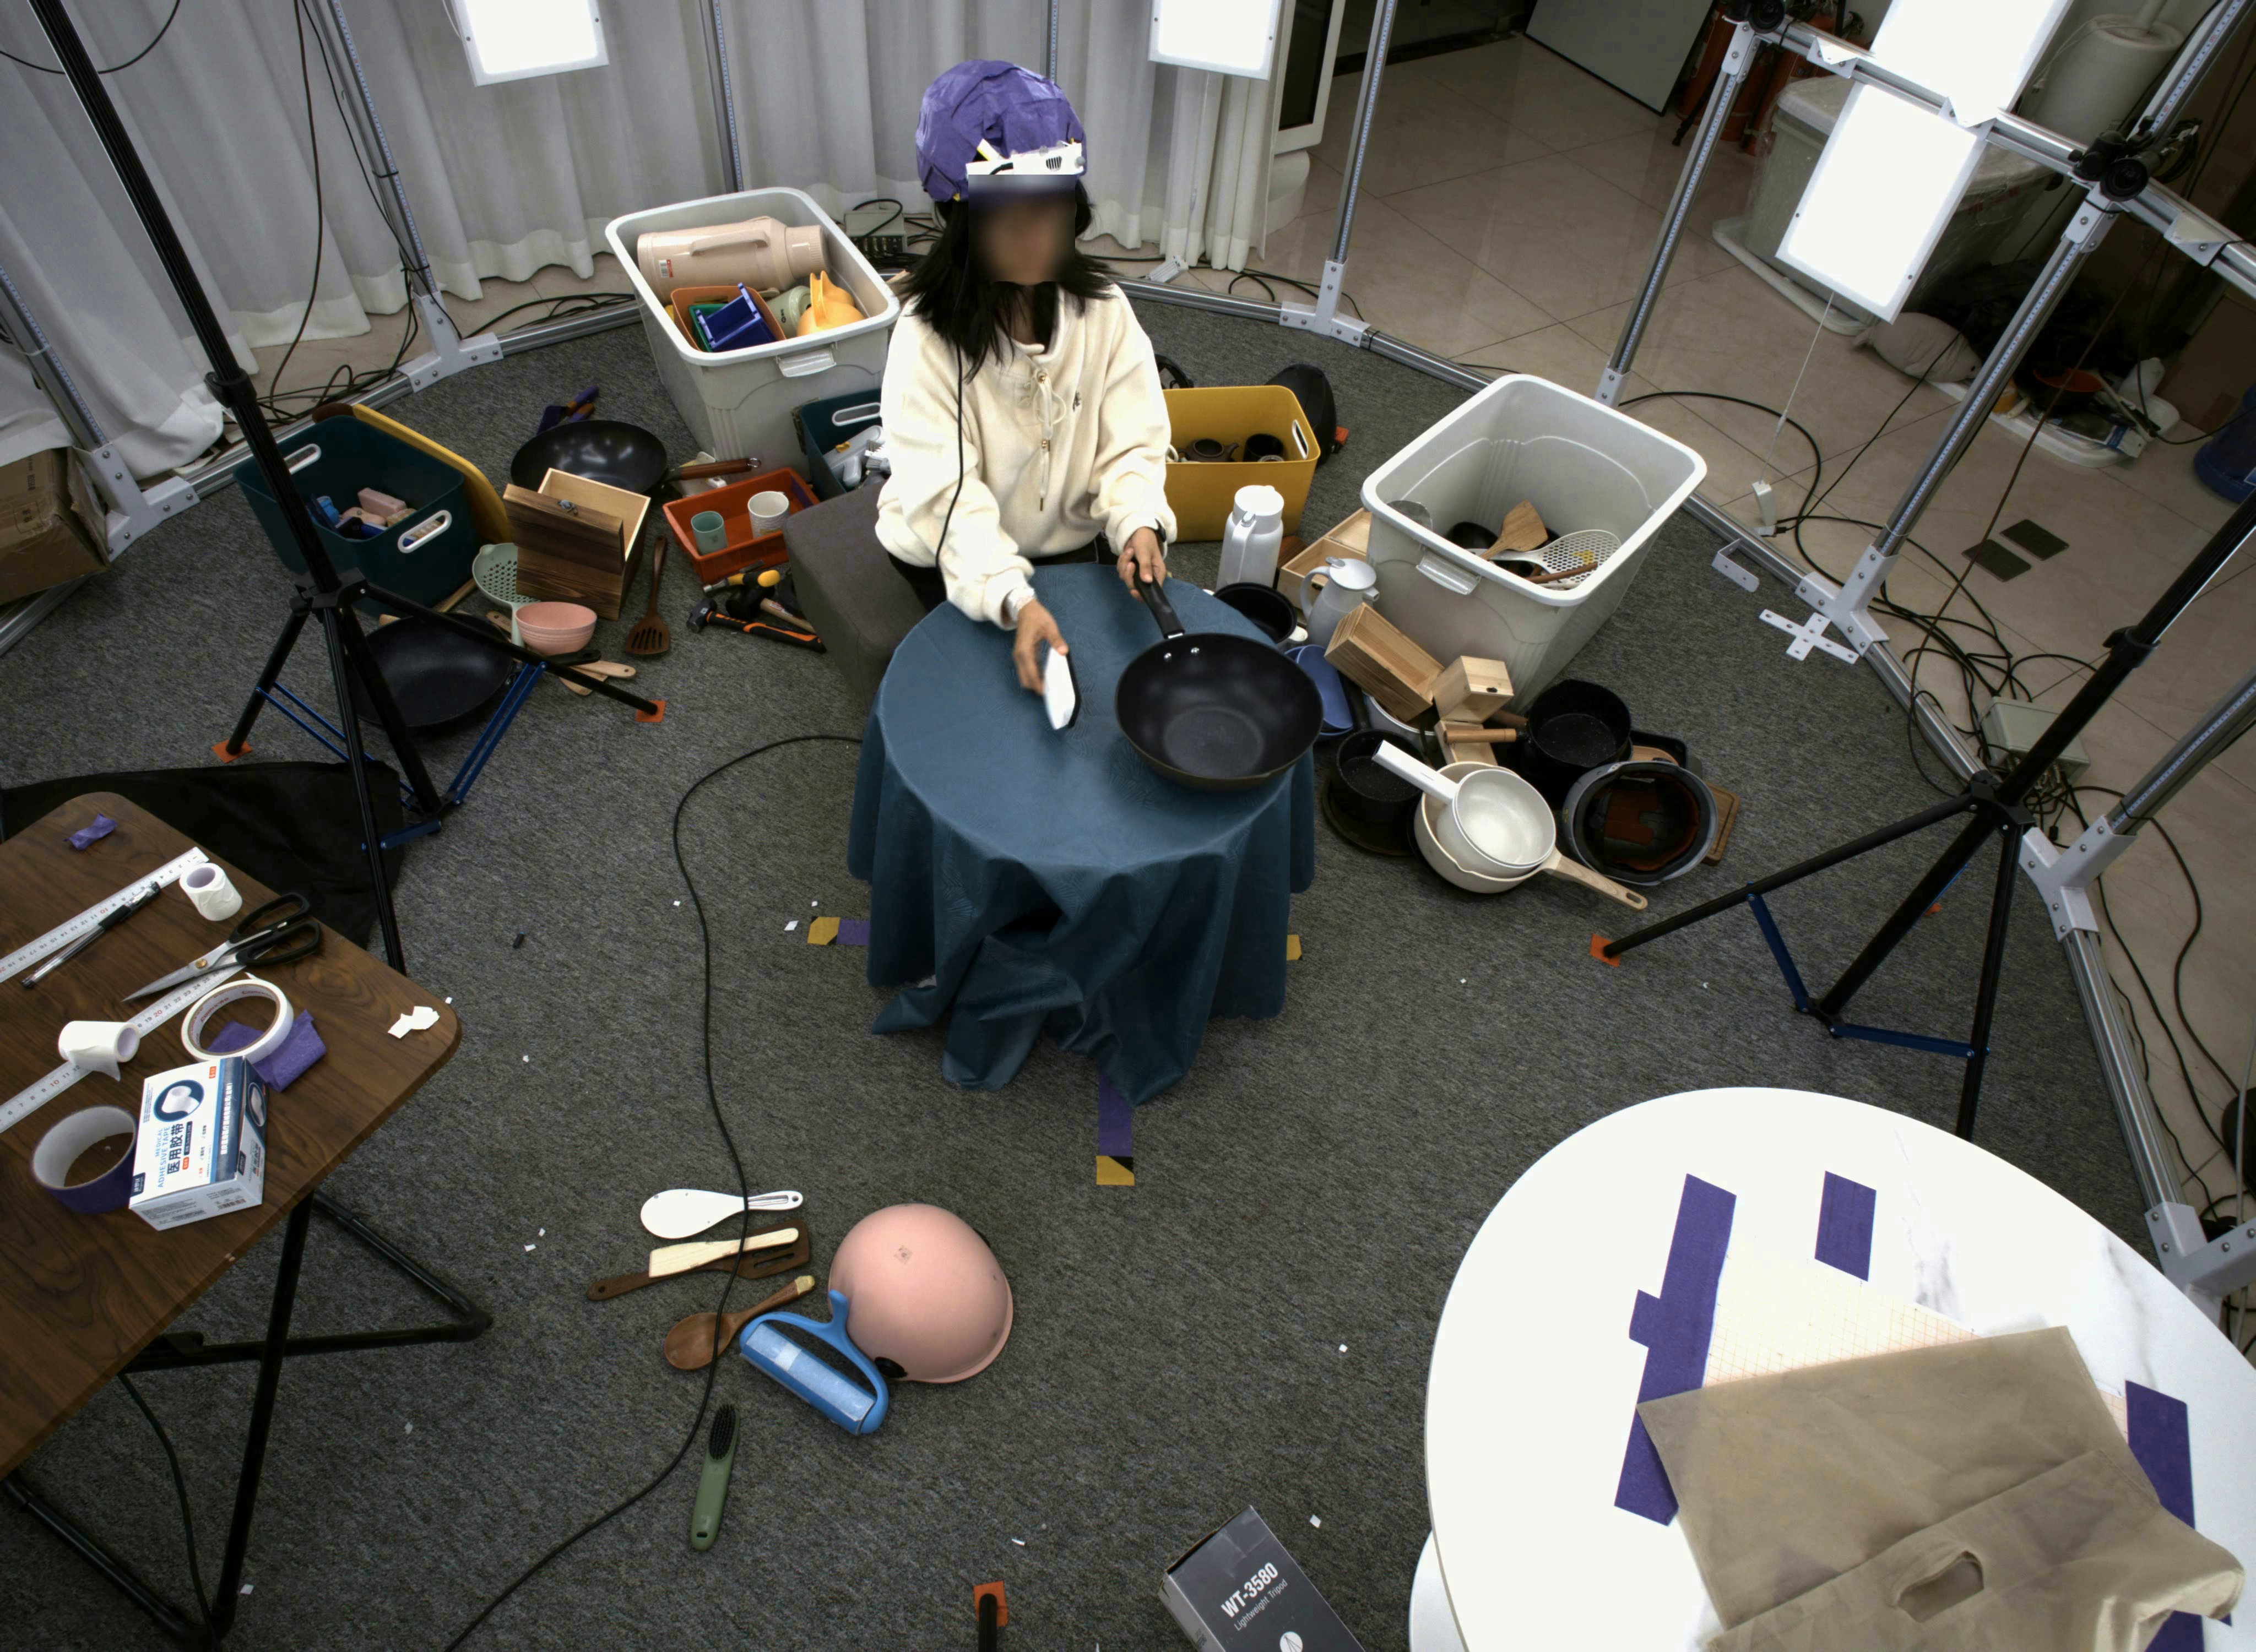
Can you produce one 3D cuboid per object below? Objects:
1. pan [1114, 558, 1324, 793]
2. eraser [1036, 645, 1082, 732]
[{"bbox_3d":[0.087,-0.206,1.802,0.288,0.085,0.474,-13,51,-16],"label":"pan"},{"bbox_3d":[-0.097,-0.190,1.760,0.034,0.062,0.134,7,43,-24],"label":"eraser"}]
